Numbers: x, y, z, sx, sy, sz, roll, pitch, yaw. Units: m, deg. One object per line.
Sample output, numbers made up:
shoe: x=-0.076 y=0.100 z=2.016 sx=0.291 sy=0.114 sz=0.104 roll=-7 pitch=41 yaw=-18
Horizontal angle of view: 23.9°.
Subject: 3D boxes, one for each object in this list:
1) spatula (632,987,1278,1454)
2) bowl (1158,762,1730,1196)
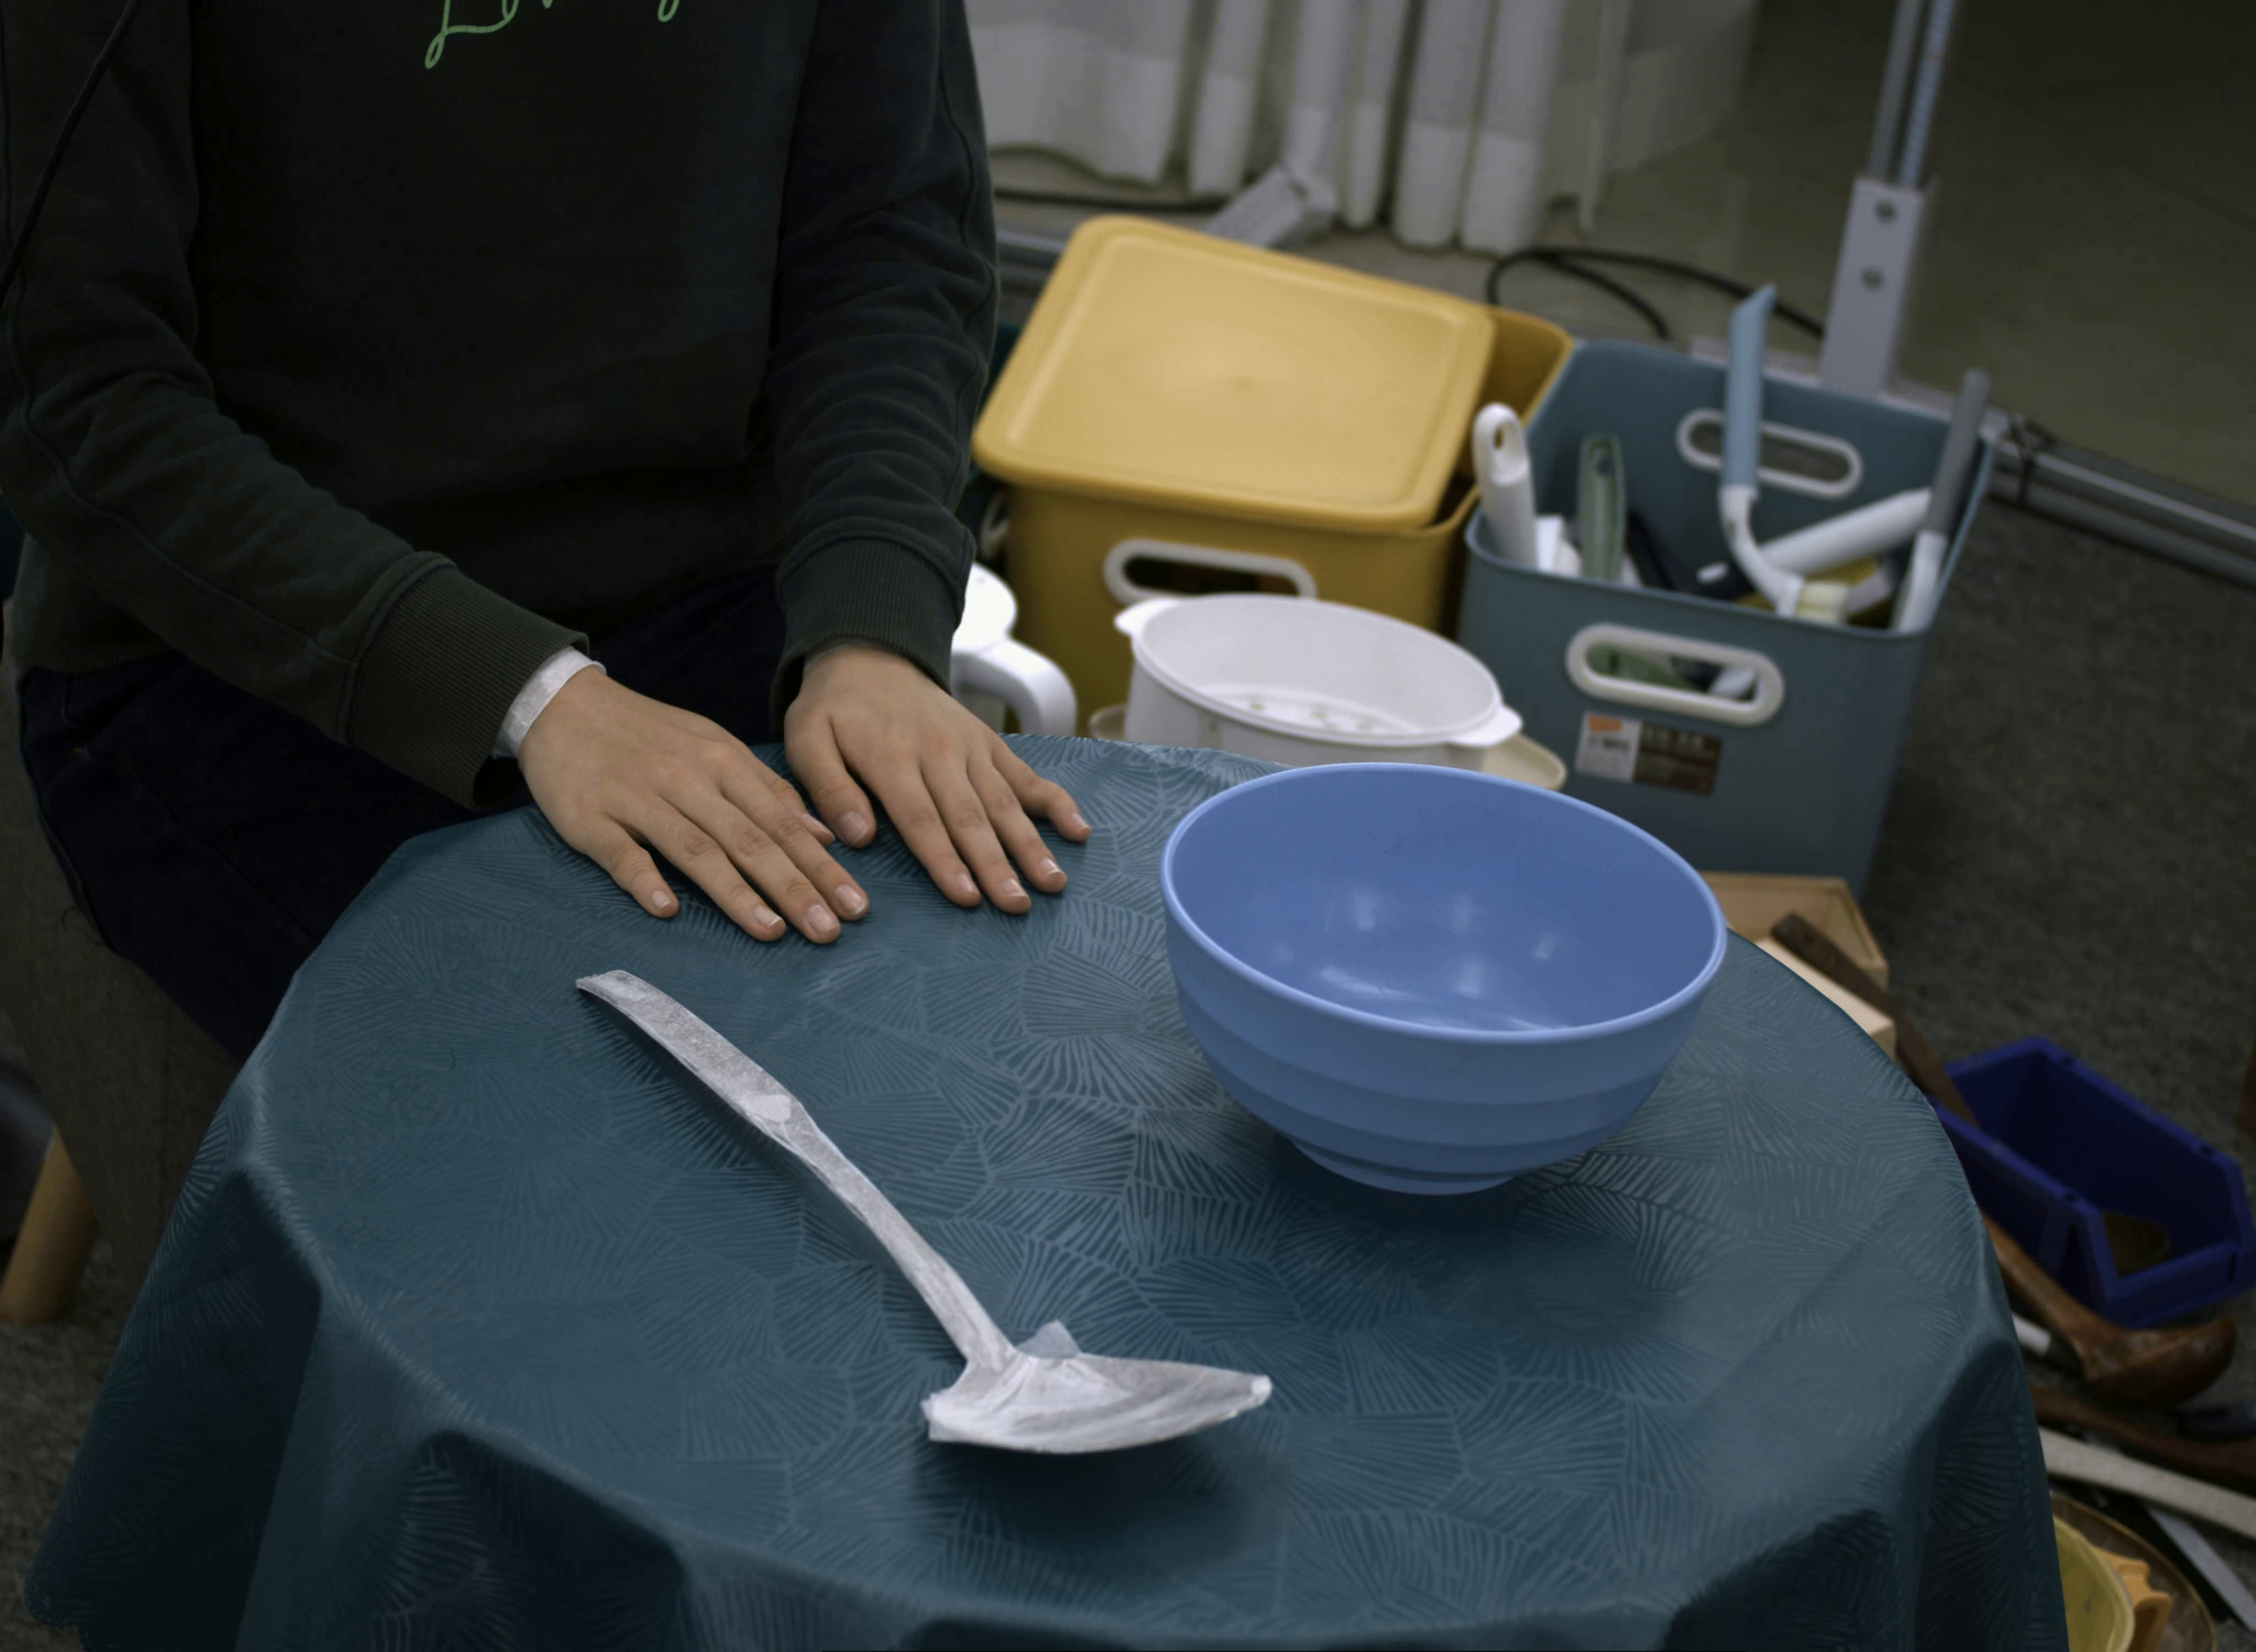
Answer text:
spatula: x=-0.081 y=0.121 z=1.745 sx=0.098 sy=0.044 sz=0.368 roll=-12 pitch=32 yaw=-29
bowl: x=0.104 y=0.064 z=1.836 sx=0.196 sy=0.095 sz=0.198 roll=4 pitch=28 yaw=-3
